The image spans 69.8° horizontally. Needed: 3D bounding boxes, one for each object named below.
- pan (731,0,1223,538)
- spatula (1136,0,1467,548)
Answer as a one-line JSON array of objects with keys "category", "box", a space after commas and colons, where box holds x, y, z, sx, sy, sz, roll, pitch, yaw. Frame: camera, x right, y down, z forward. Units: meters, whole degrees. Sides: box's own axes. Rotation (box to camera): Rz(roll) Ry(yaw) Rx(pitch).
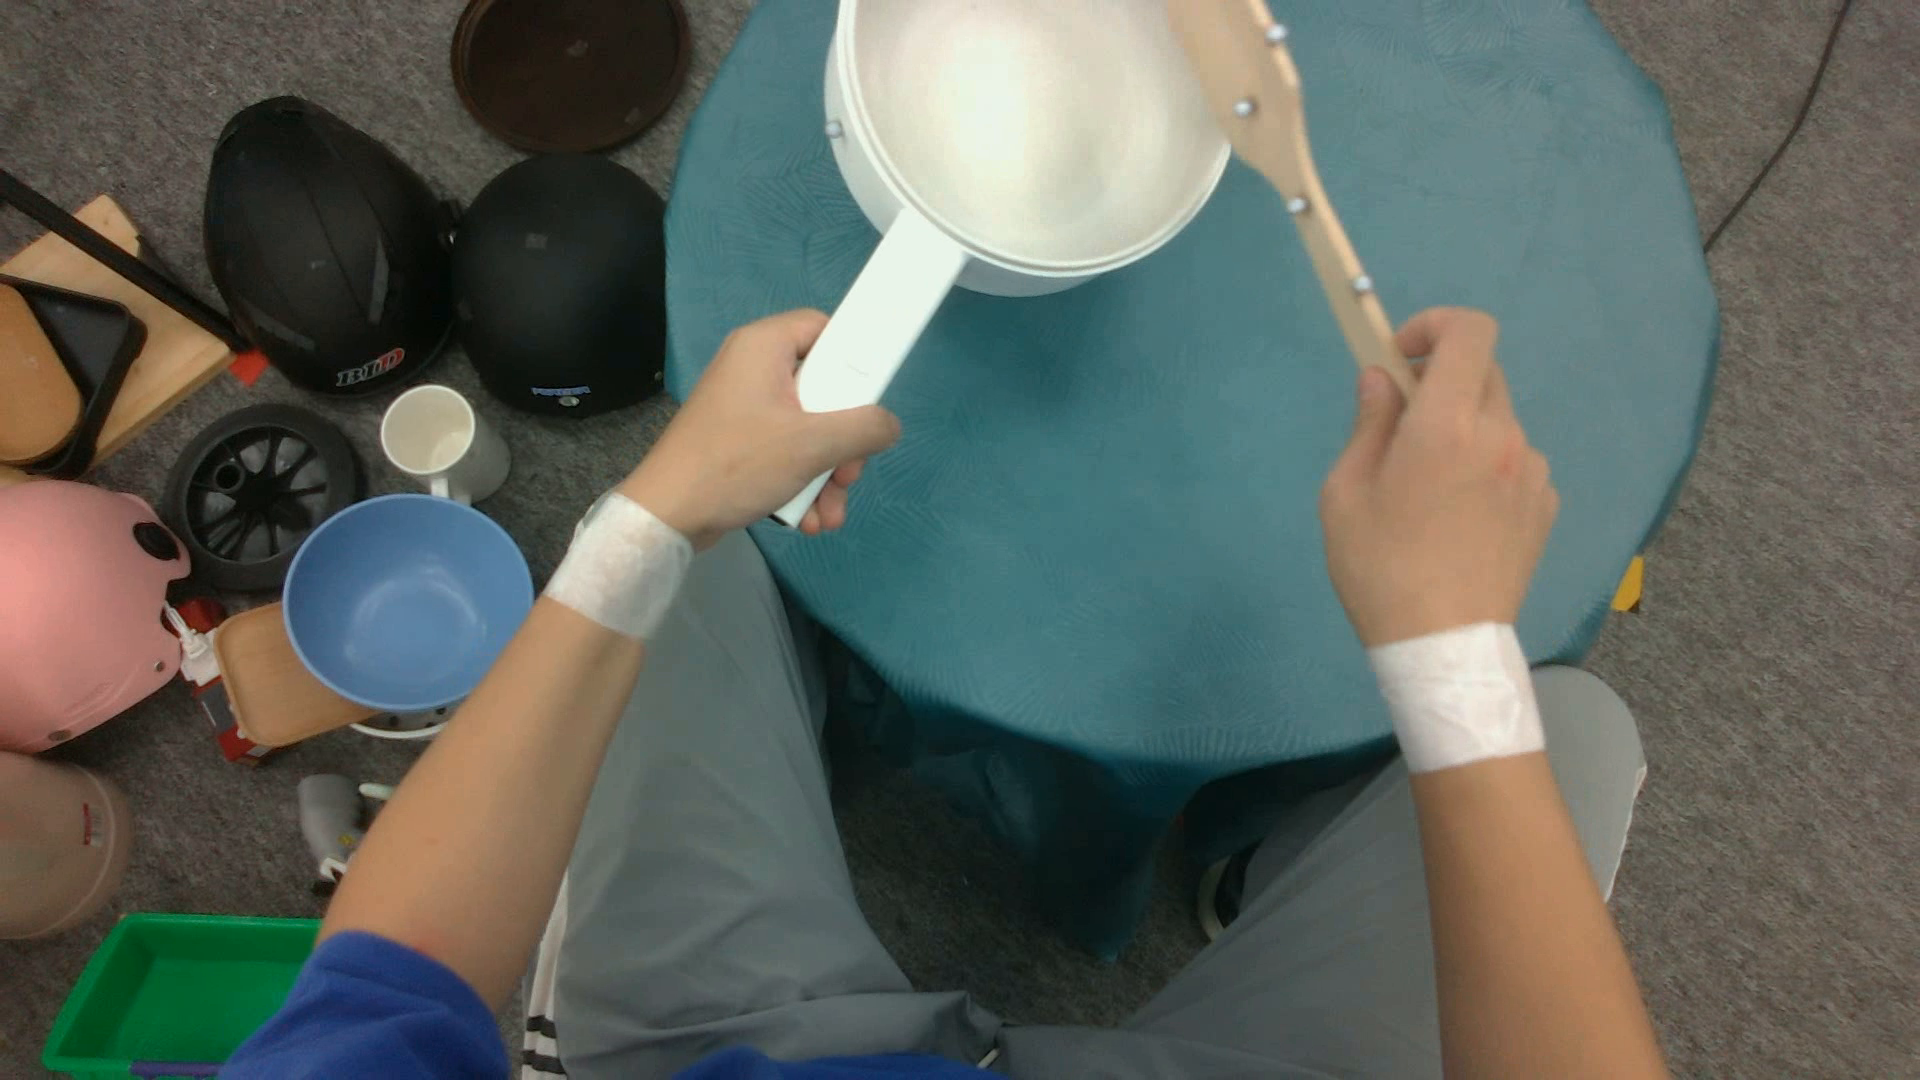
[{"category": "pan", "box": [-0.007, -0.158, 0.707, 0.201, 0.102, 0.355, 33, 80, -13]}, {"category": "spatula", "box": [0.155, -0.128, 0.625, 0.010, 0.072, 0.293, -23, 80, -12]}]
